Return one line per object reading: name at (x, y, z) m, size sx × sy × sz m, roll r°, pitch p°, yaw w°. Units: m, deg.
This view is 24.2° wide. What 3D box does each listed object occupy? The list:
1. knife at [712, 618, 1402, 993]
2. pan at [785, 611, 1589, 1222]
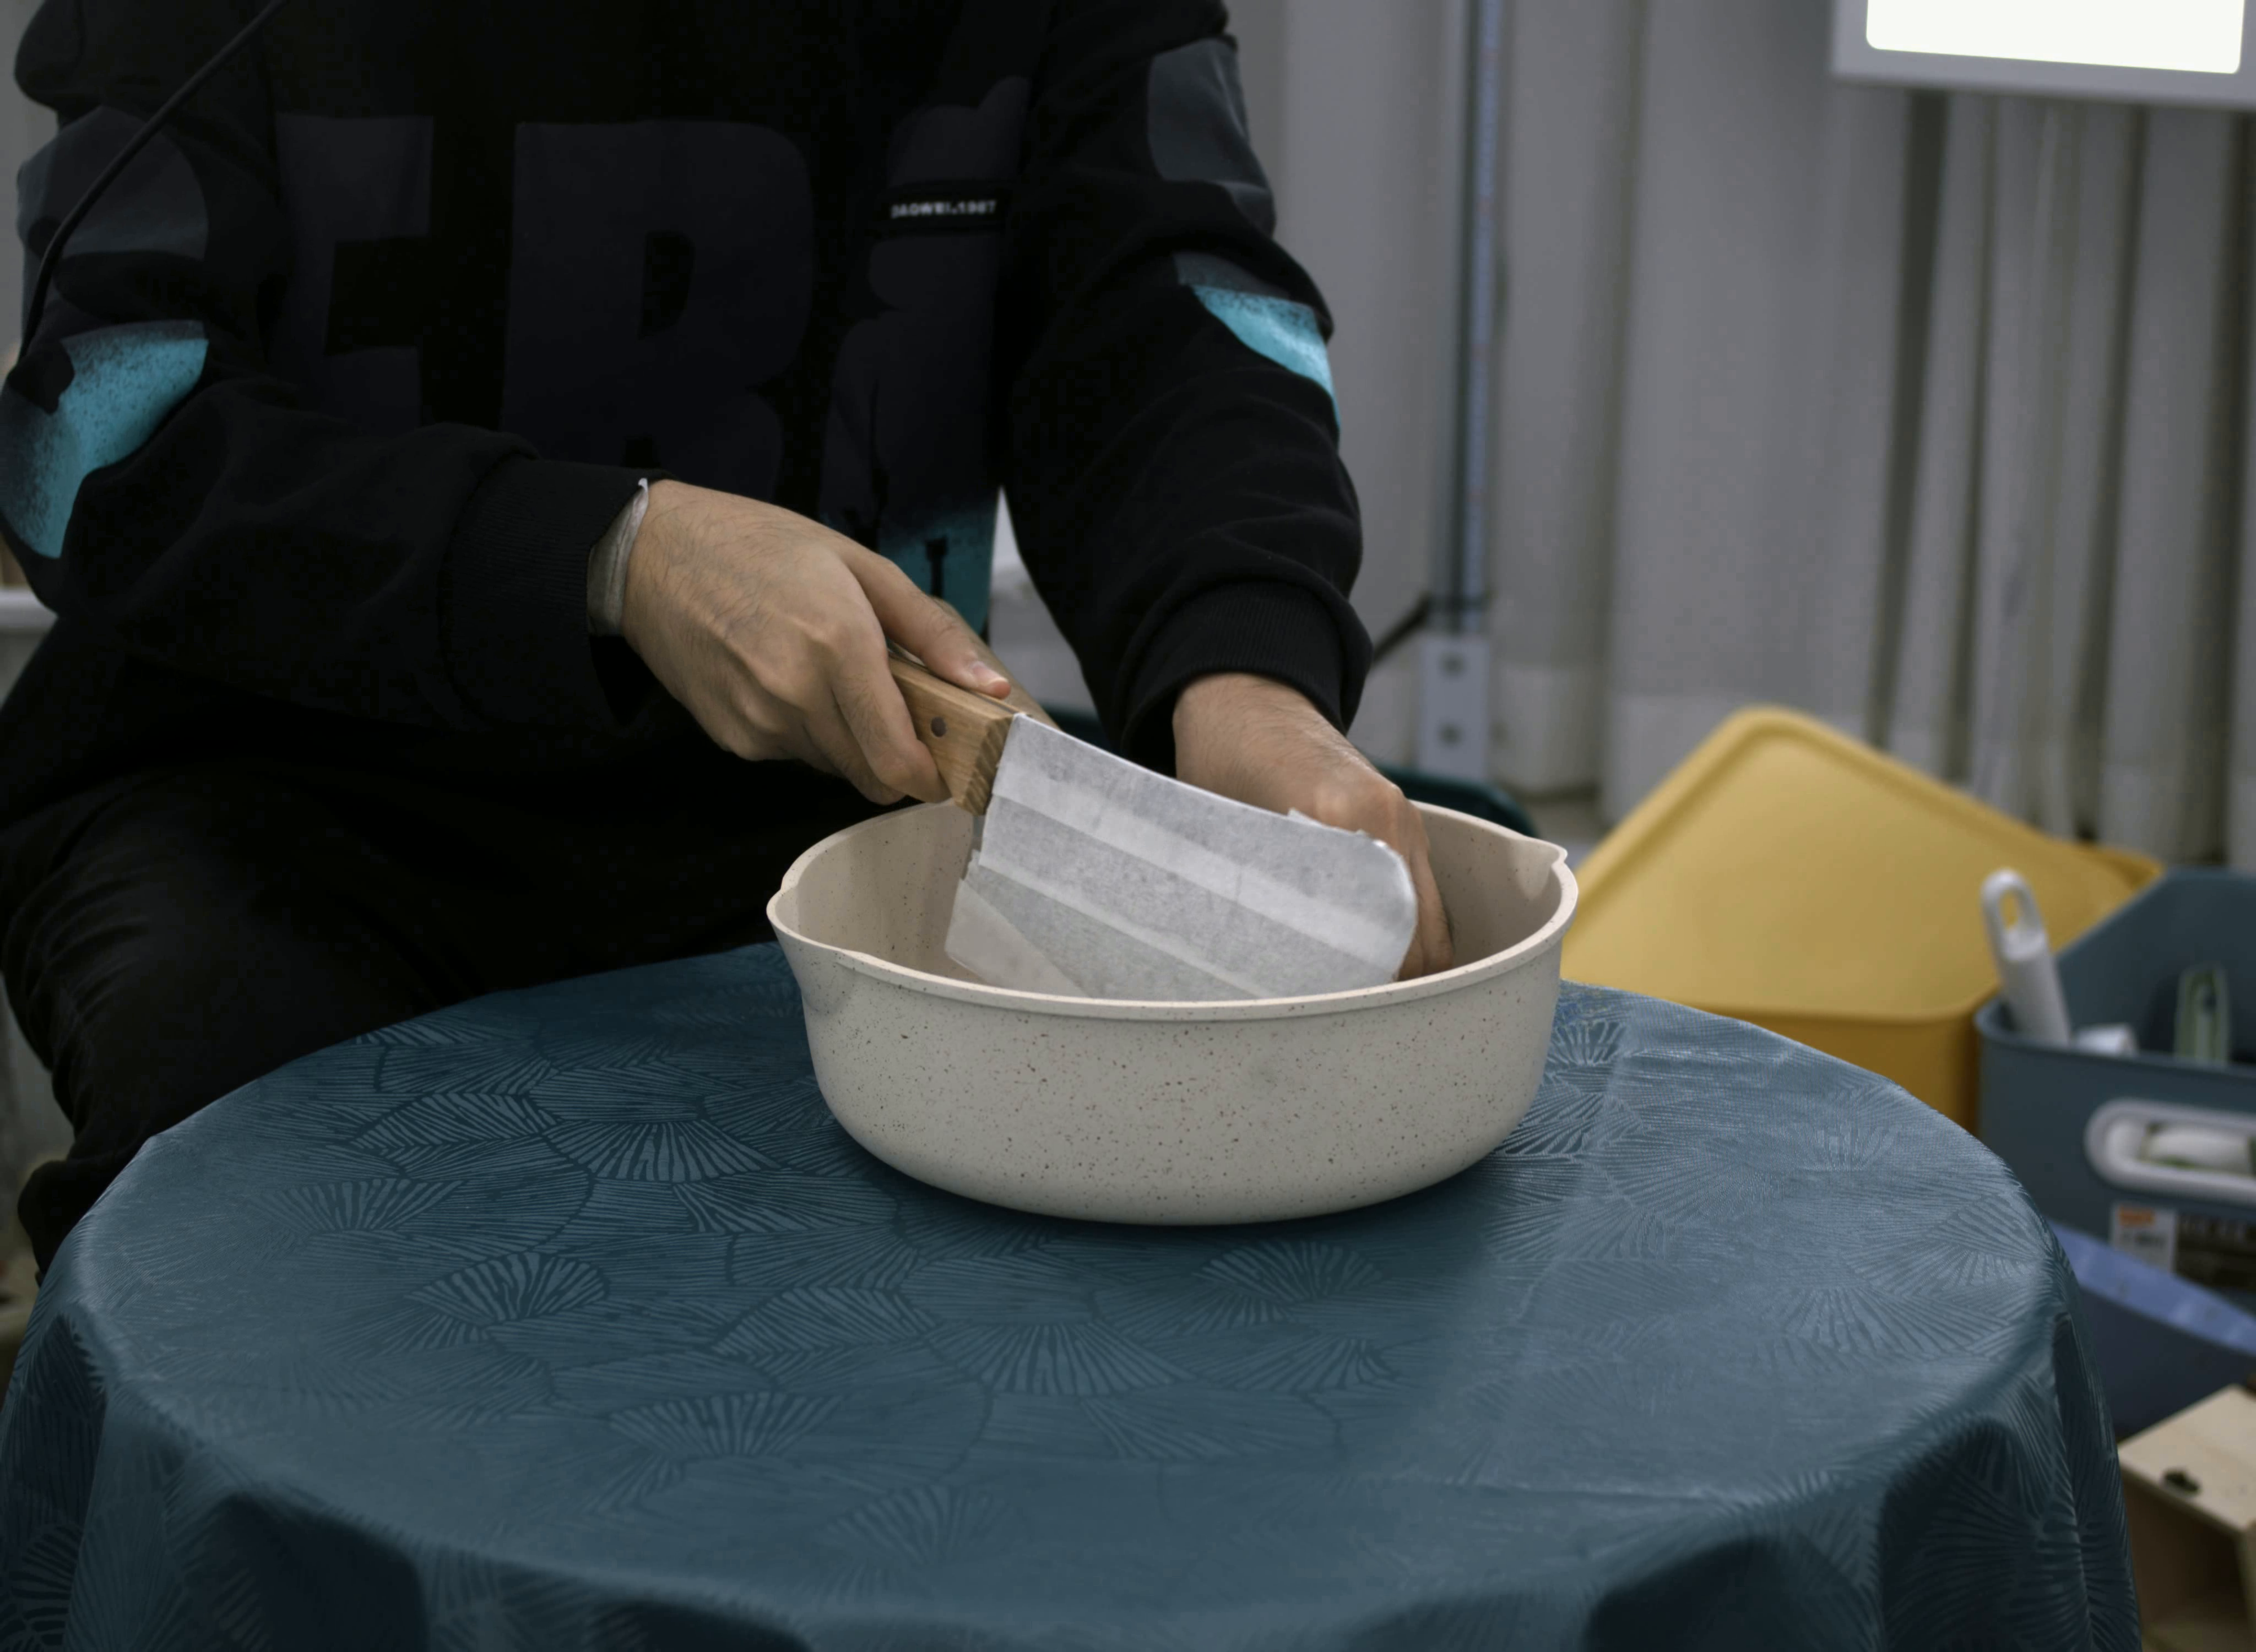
knife at (-0.026, 0.003, 1.685) m, size 0.311 × 0.114 × 0.022 m, roll 30°, pitch 21°, yaw 37°
pan at (-0.010, 0.025, 1.749) m, size 0.264 × 0.103 × 0.430 m, roll -7°, pitch 18°, yaw -19°
